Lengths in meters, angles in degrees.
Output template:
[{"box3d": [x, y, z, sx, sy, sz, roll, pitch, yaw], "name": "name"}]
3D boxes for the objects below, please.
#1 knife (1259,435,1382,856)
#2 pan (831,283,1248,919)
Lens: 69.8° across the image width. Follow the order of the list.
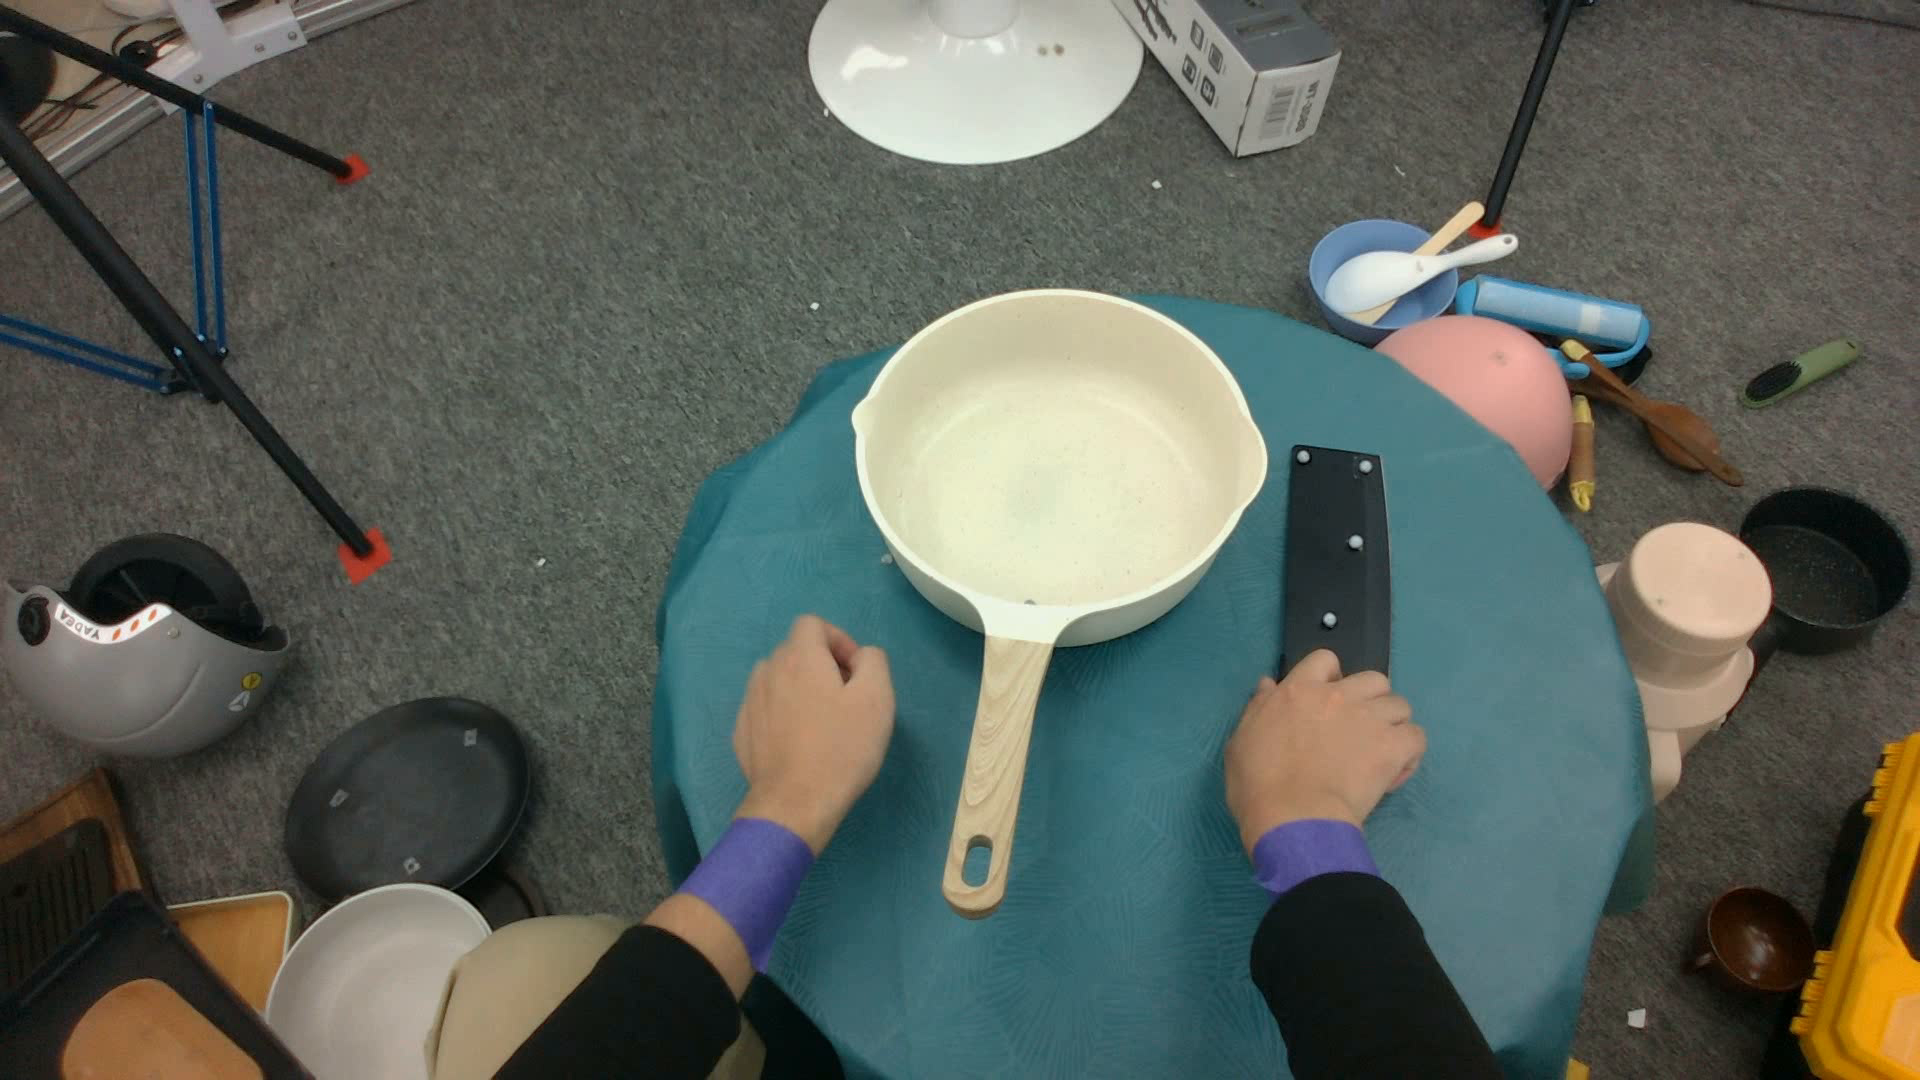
[{"box3d": [0.227, 0.054, 0.869, 0.081, 0.021, 0.304, 13, 57, 6], "name": "knife"}, {"box3d": [0.035, 0.027, 0.842, 0.263, 0.101, 0.437, 7, 58, 5], "name": "pan"}]
